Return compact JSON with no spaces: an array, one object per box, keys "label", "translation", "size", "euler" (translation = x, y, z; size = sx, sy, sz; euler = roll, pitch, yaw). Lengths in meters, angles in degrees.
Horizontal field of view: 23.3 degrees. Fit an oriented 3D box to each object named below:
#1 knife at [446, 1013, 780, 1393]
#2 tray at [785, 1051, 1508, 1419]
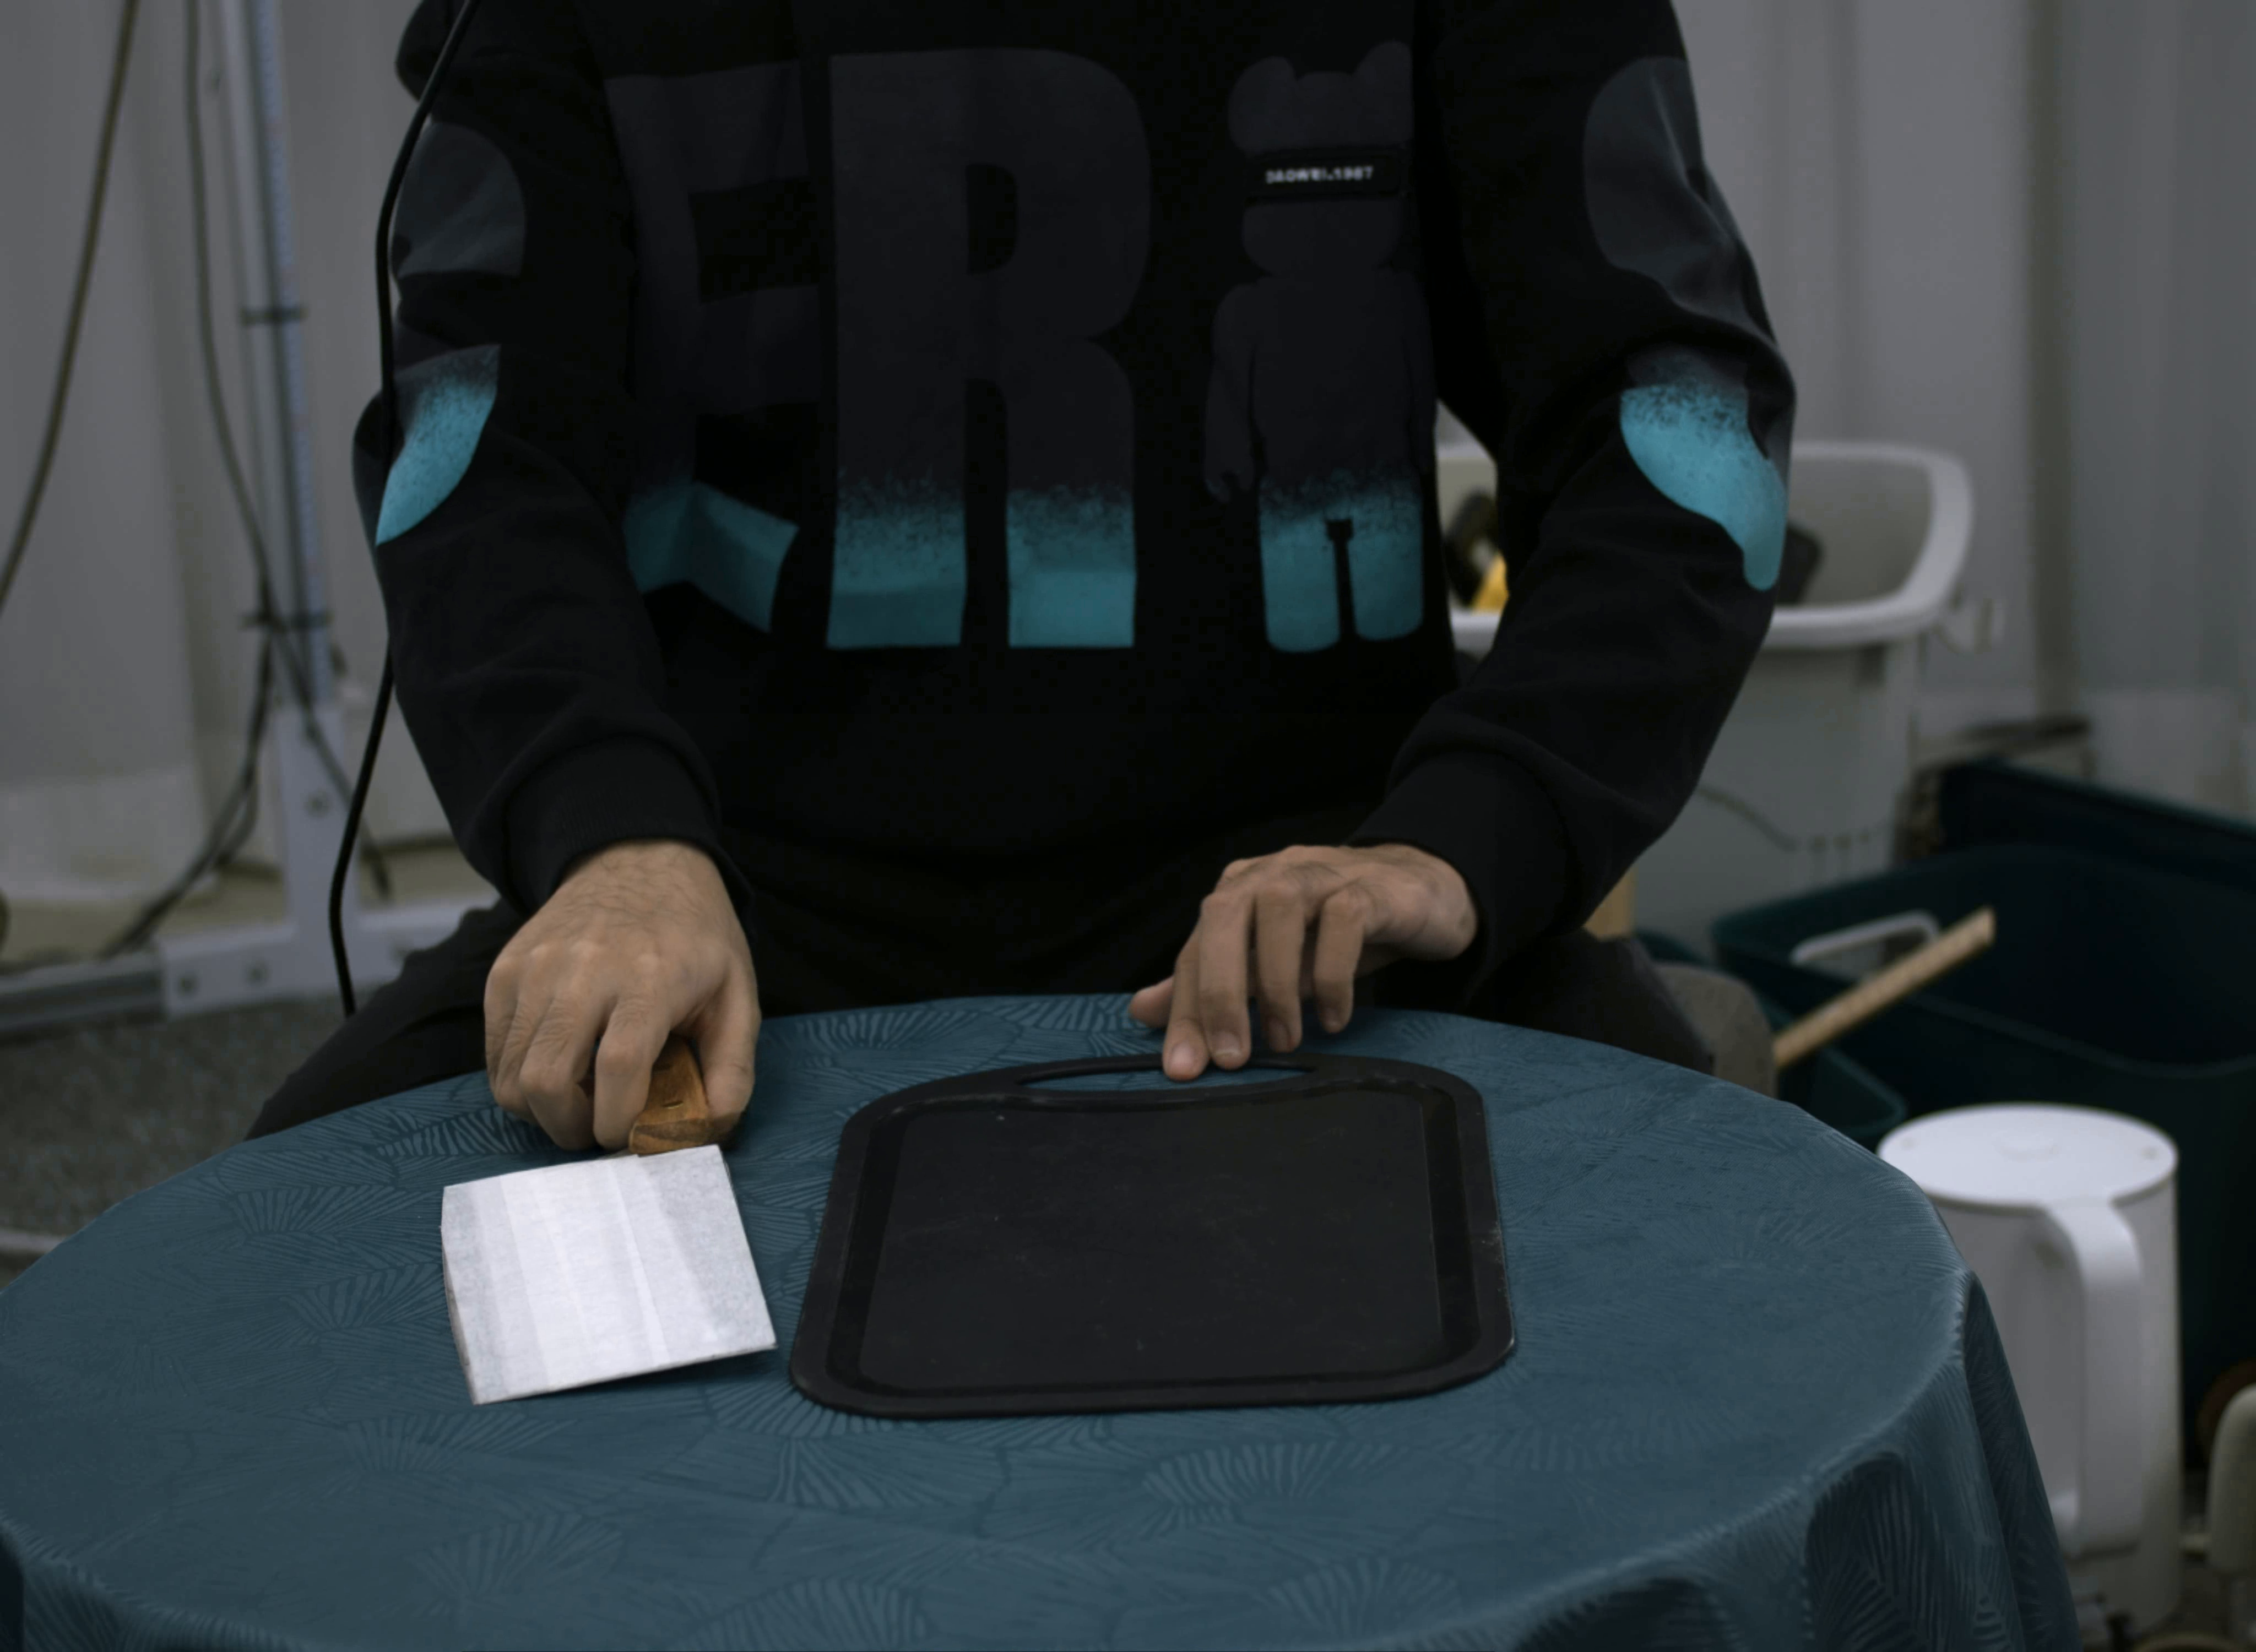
[{"label":"knife","translation":[-0.167,0.117,1.712],"size":[0.092,0.021,0.308],"euler":[-11,17,-6]},{"label":"tray","translation":[0.008,0.119,1.683],"size":[0.210,0.010,0.327],"euler":[-2,15,3]}]
